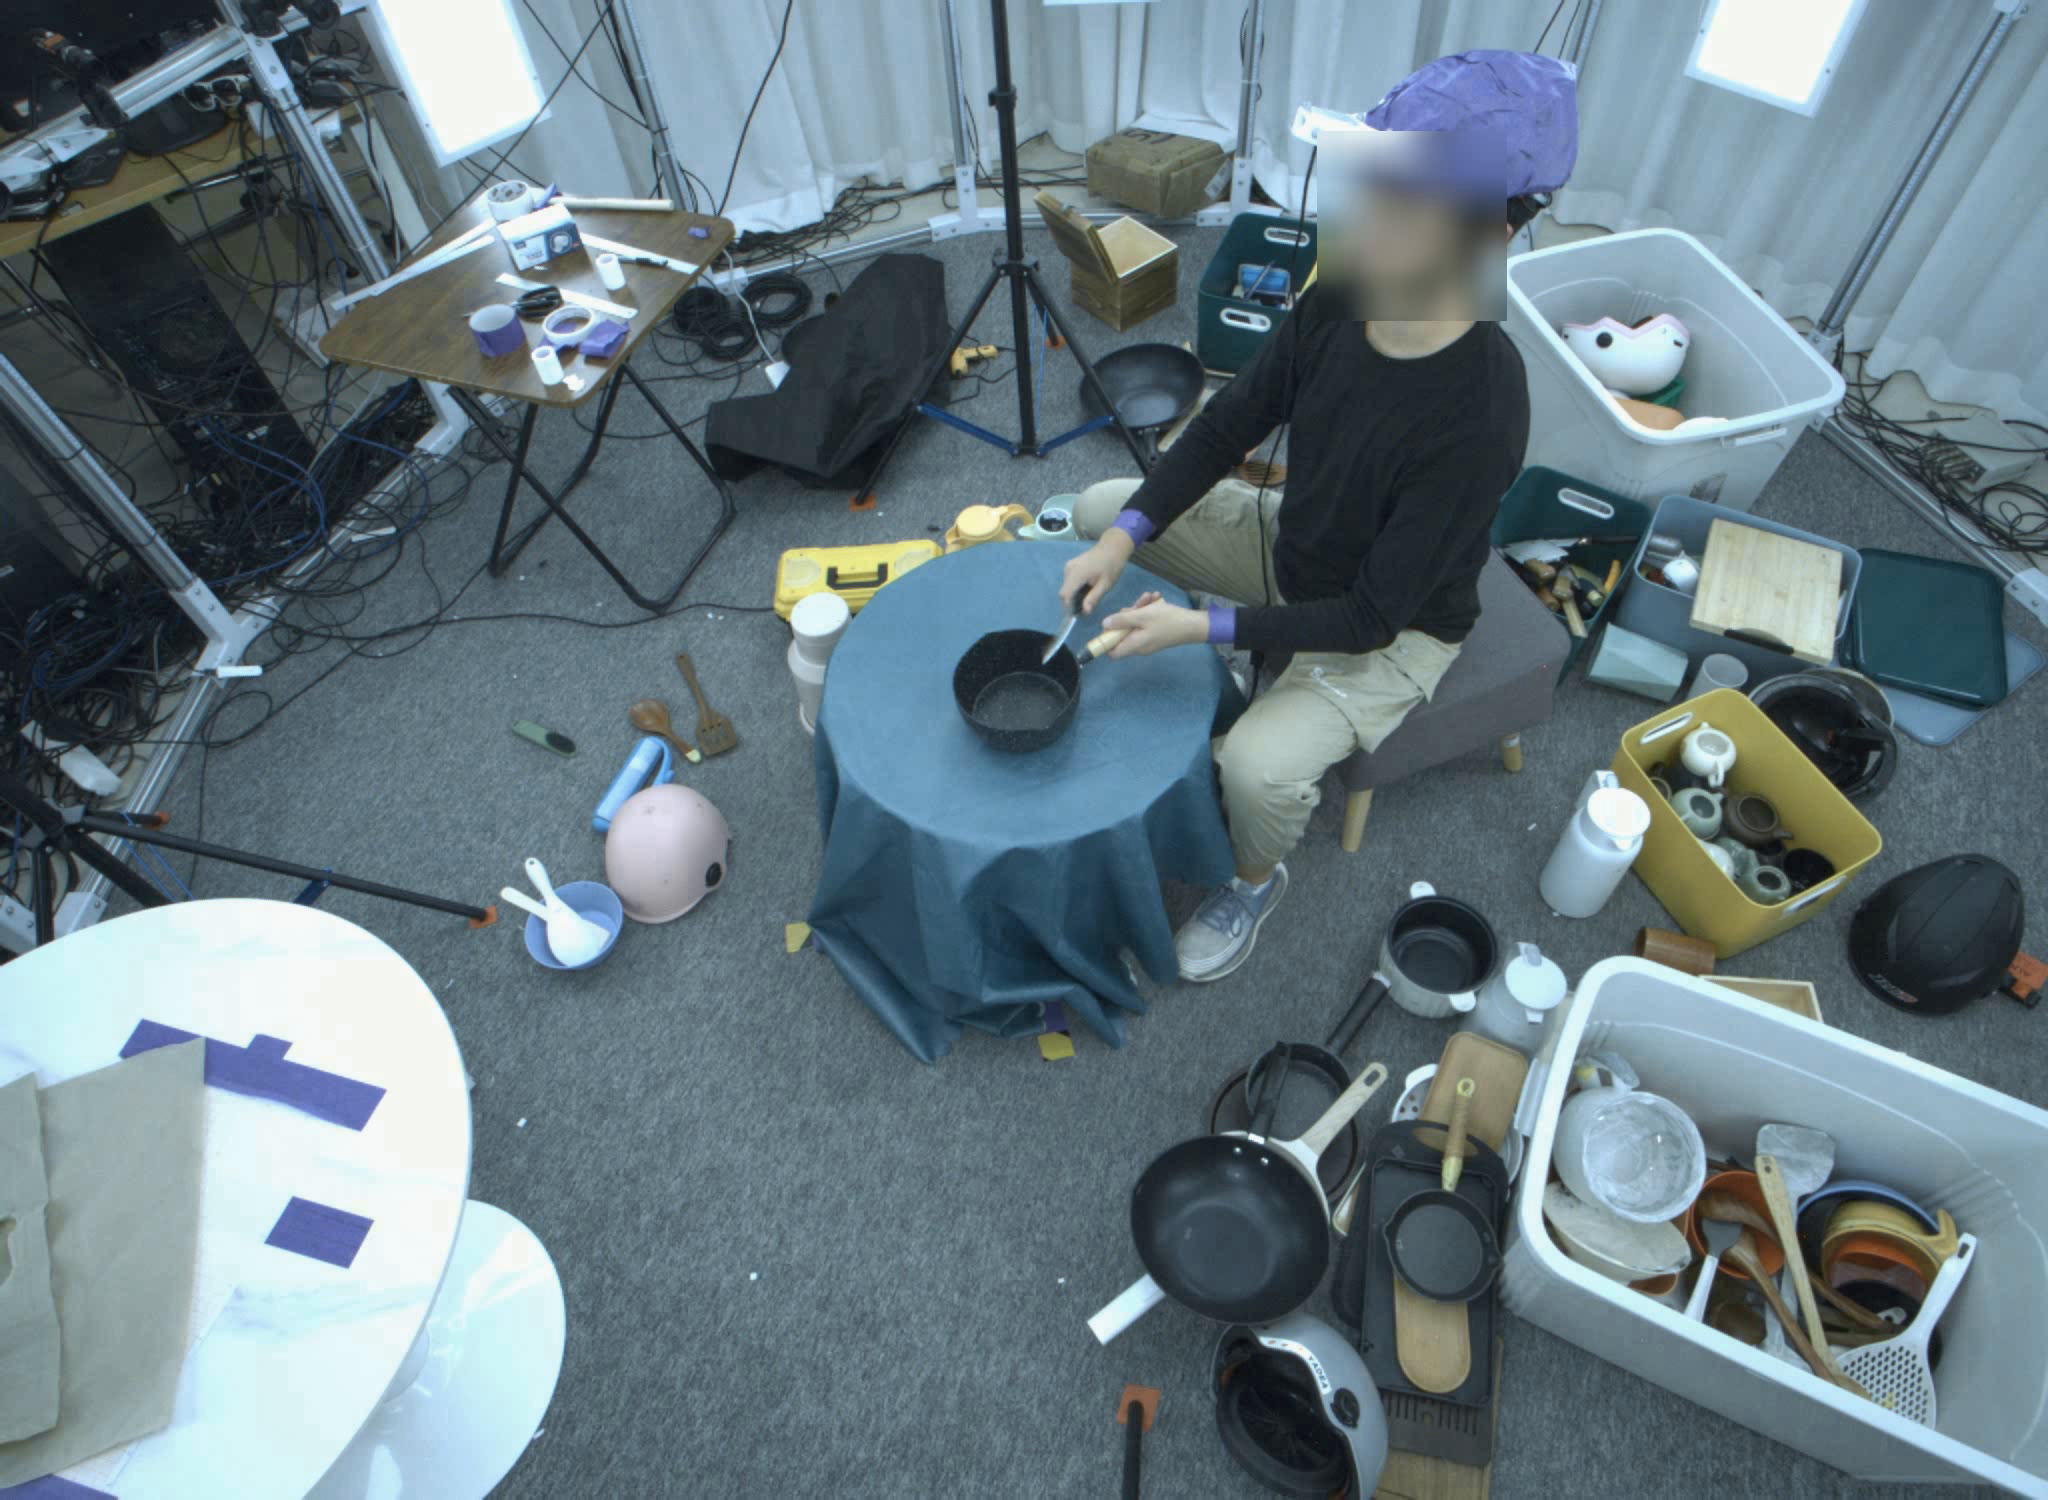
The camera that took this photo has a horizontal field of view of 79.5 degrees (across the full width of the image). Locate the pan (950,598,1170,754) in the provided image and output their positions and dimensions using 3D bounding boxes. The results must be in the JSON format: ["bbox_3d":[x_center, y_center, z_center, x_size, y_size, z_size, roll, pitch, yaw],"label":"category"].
[{"bbox_3d":[0.060,-0.120,1.793,0.345,0.109,0.203,-26,58,-11],"label":"pan"}]

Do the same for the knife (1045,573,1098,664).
[{"bbox_3d":[0.067,-0.194,1.802,0.024,0.016,0.238,-1,38,25],"label":"knife"}]
